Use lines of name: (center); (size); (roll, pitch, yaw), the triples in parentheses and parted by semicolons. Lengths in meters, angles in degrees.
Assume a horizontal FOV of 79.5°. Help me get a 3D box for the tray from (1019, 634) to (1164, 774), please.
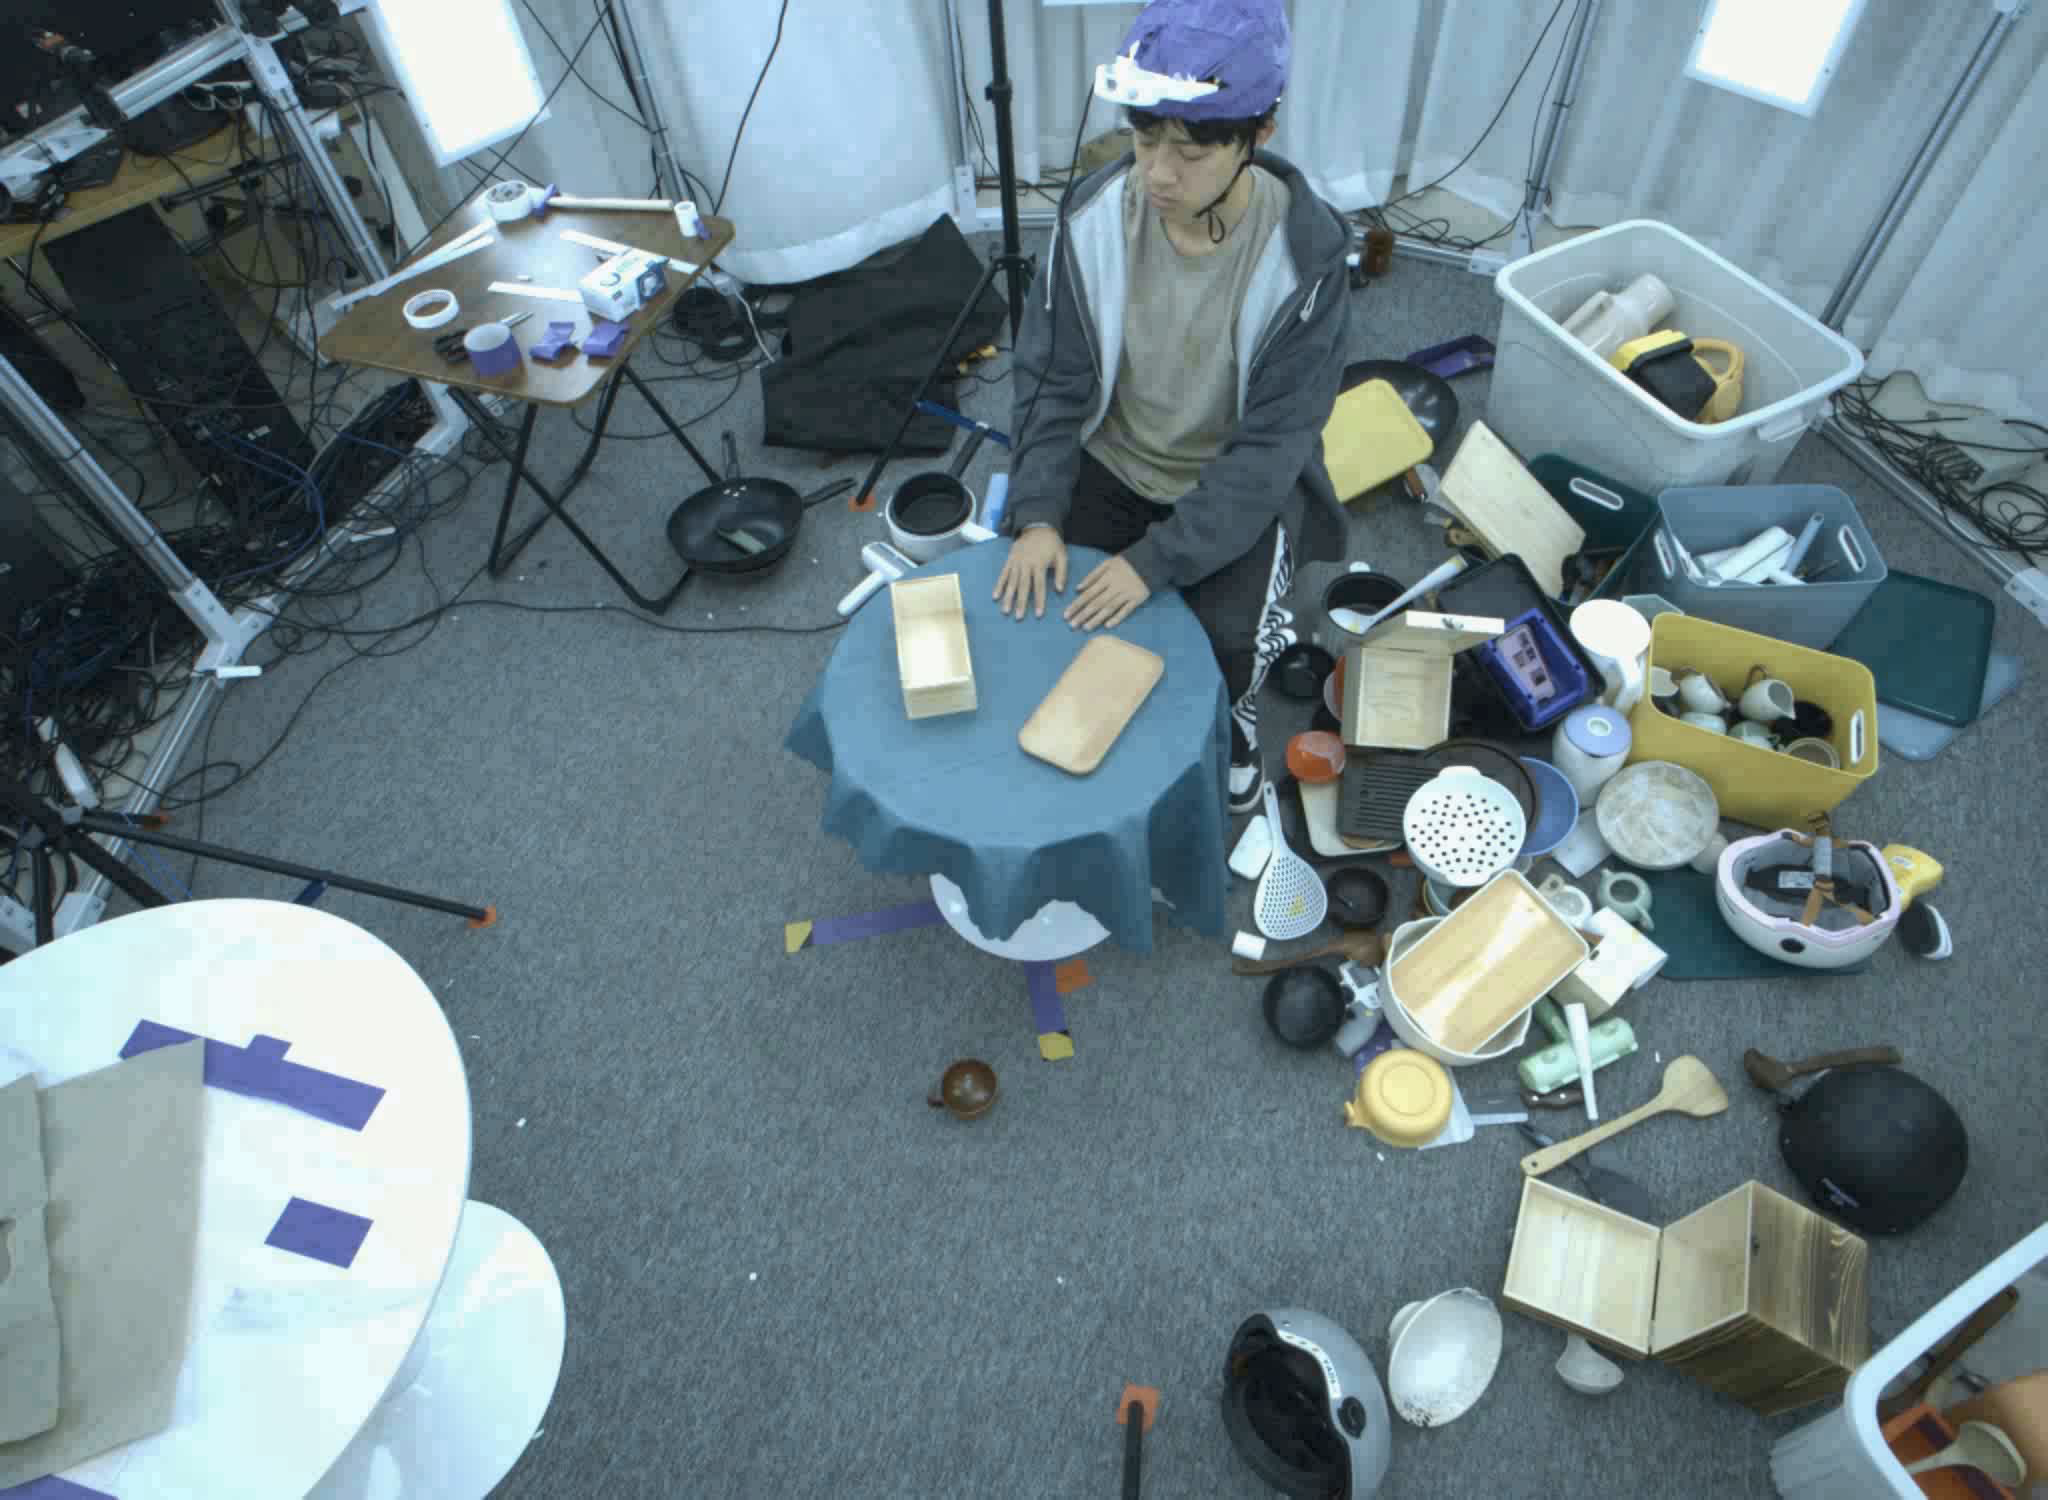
tray: (0.102, -0.070, 1.826); (0.129, 0.023, 0.251); (28, 59, 17)

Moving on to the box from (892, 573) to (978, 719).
box: (-0.137, -0.160, 1.859); (0.108, 0.081, 0.208); (-8, 55, -3)
